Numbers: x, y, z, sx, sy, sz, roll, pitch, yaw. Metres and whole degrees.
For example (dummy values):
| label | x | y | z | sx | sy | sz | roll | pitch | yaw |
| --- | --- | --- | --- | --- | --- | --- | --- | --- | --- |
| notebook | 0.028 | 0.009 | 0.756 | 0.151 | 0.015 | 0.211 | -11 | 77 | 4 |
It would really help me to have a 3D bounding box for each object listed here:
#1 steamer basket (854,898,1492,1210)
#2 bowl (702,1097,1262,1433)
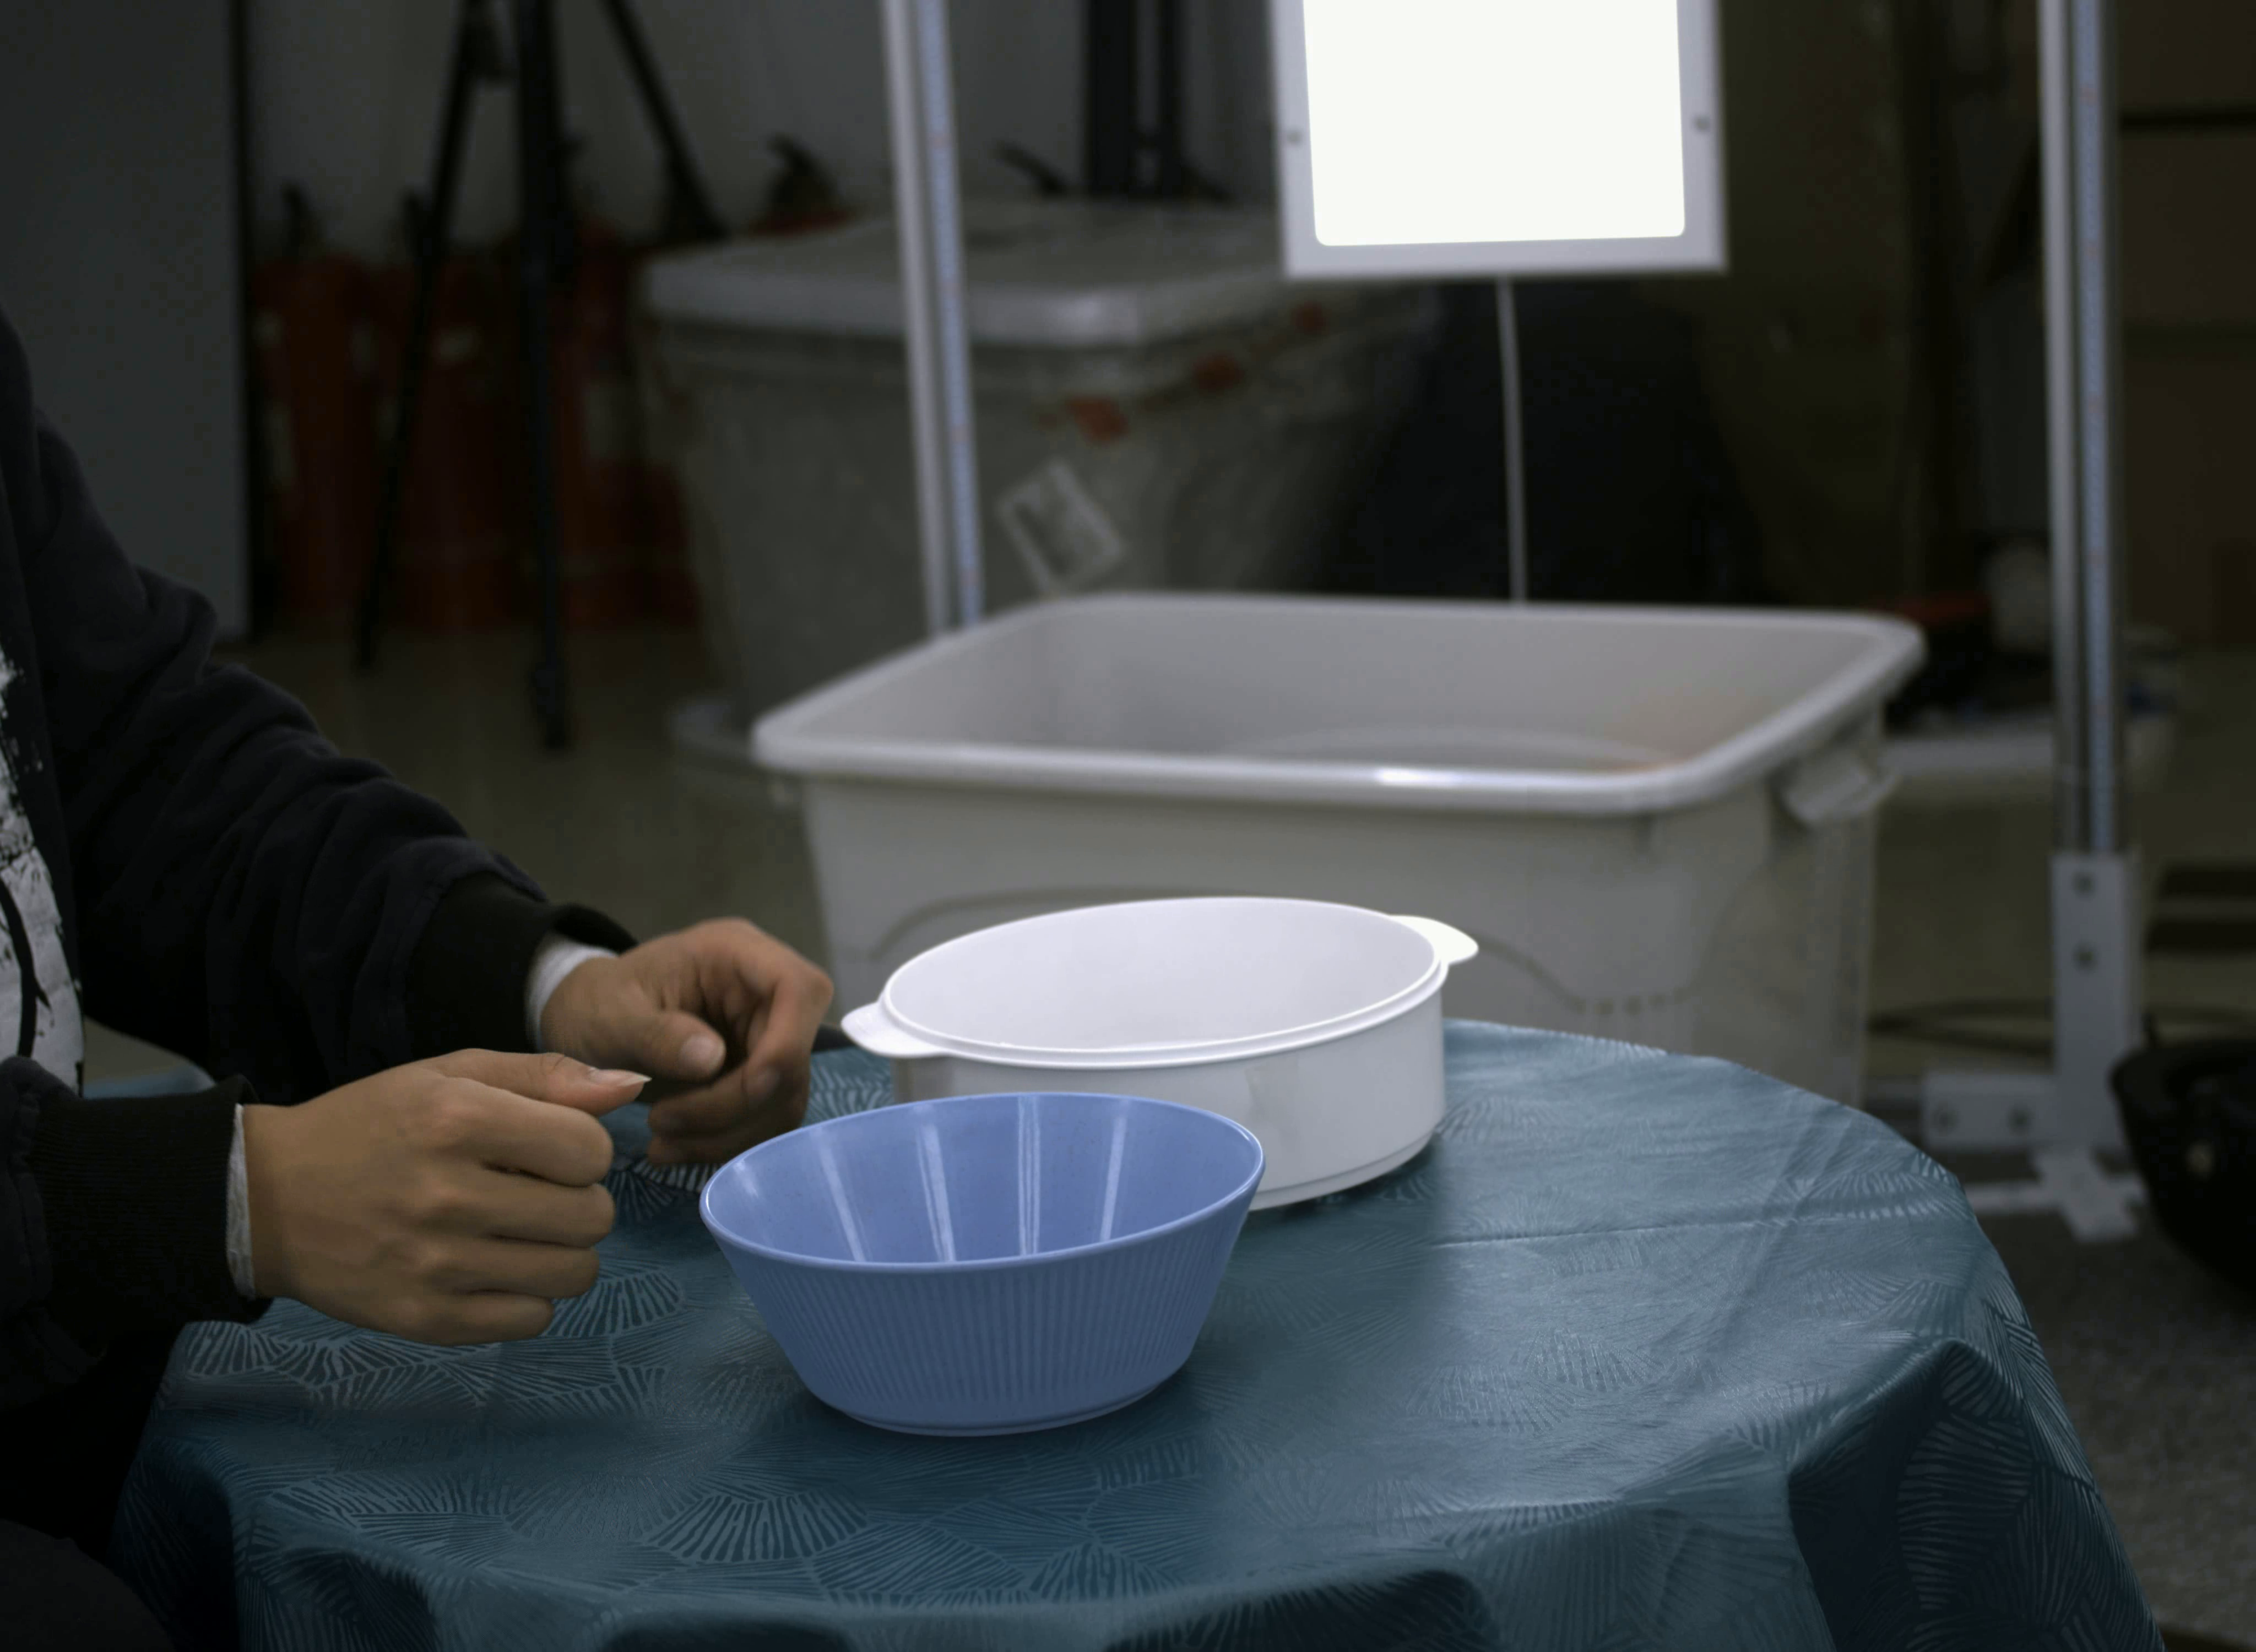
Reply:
| label | x | y | z | sx | sy | sz | roll | pitch | yaw |
| --- | --- | --- | --- | --- | --- | --- | --- | --- | --- |
| steamer basket | 0.019 | 0.081 | 1.932 | 0.226 | 0.069 | 0.204 | -7 | 14 | -19 |
| bowl | -0.043 | 0.139 | 1.714 | 0.175 | 0.070 | 0.176 | -5 | 13 | 0 |
